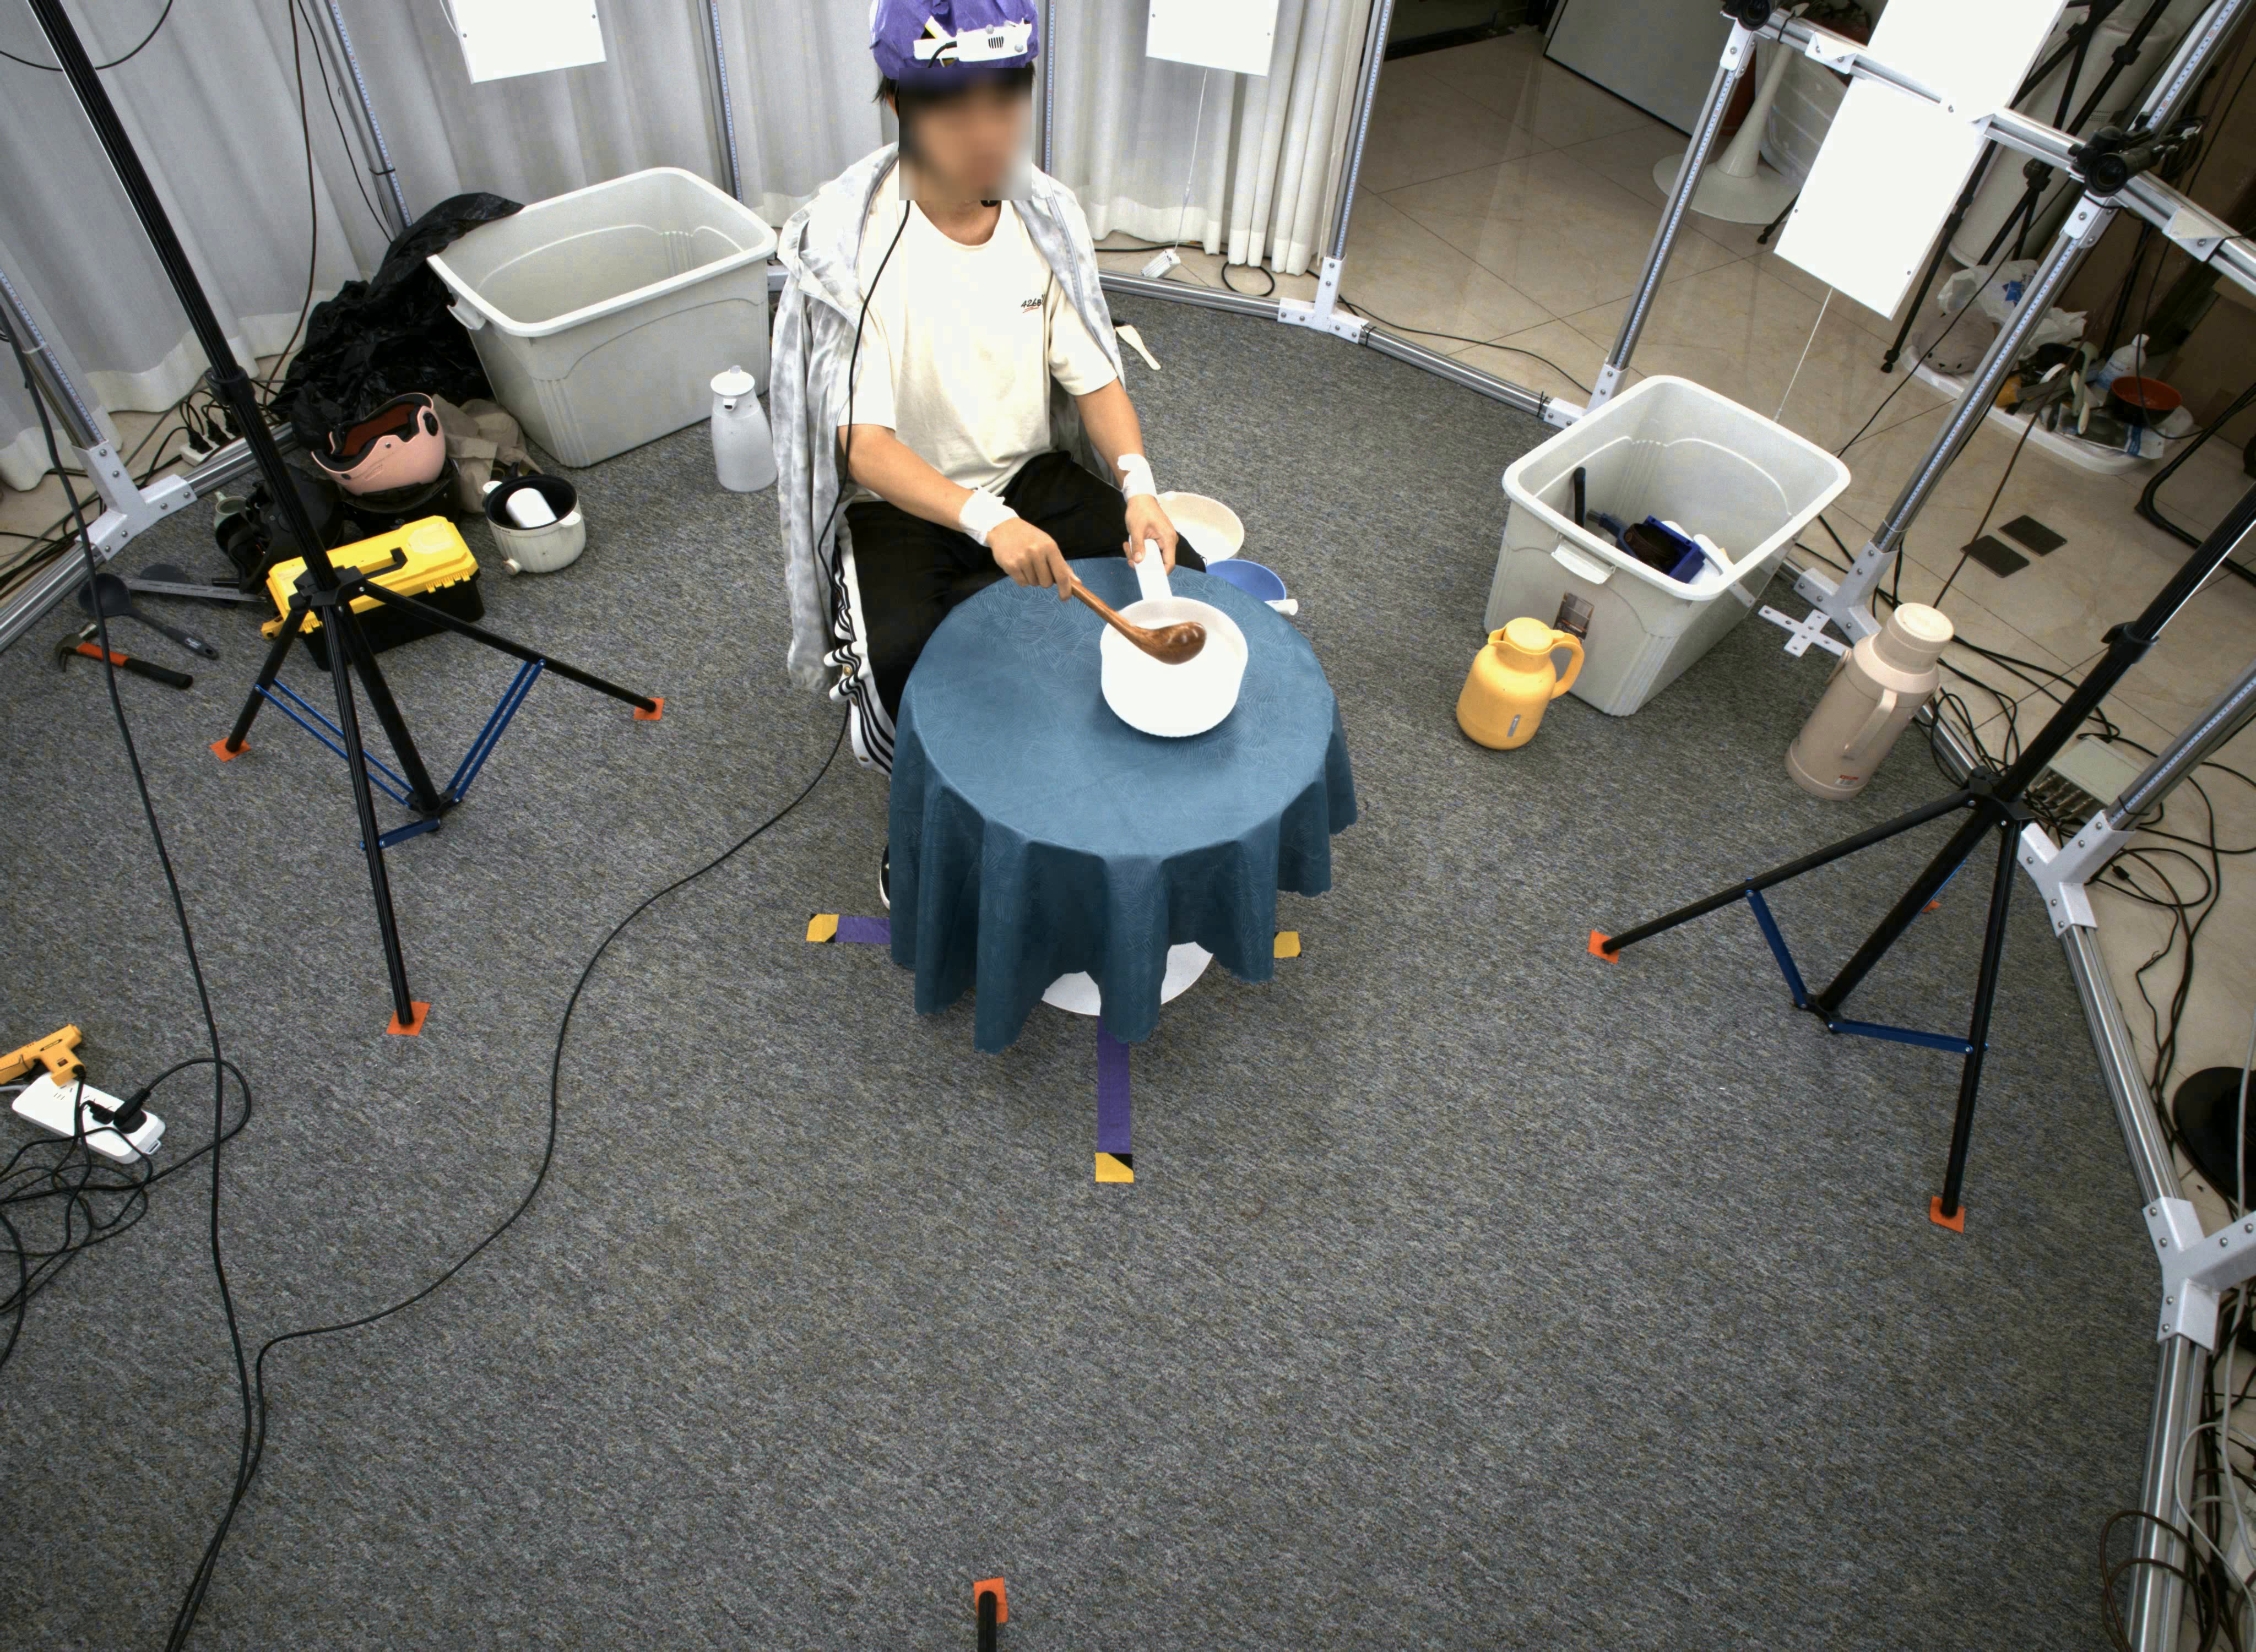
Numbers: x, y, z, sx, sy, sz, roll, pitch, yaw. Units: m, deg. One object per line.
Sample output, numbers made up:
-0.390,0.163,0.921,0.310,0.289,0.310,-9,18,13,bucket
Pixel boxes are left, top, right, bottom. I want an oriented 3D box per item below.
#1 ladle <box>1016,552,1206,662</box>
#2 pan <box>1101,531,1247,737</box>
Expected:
-0.020,-0.310,1.739,0.276,0.080,0.078,35,52,12,ladle
0.049,-0.275,1.840,0.201,0.099,0.364,-6,49,-7,pan
